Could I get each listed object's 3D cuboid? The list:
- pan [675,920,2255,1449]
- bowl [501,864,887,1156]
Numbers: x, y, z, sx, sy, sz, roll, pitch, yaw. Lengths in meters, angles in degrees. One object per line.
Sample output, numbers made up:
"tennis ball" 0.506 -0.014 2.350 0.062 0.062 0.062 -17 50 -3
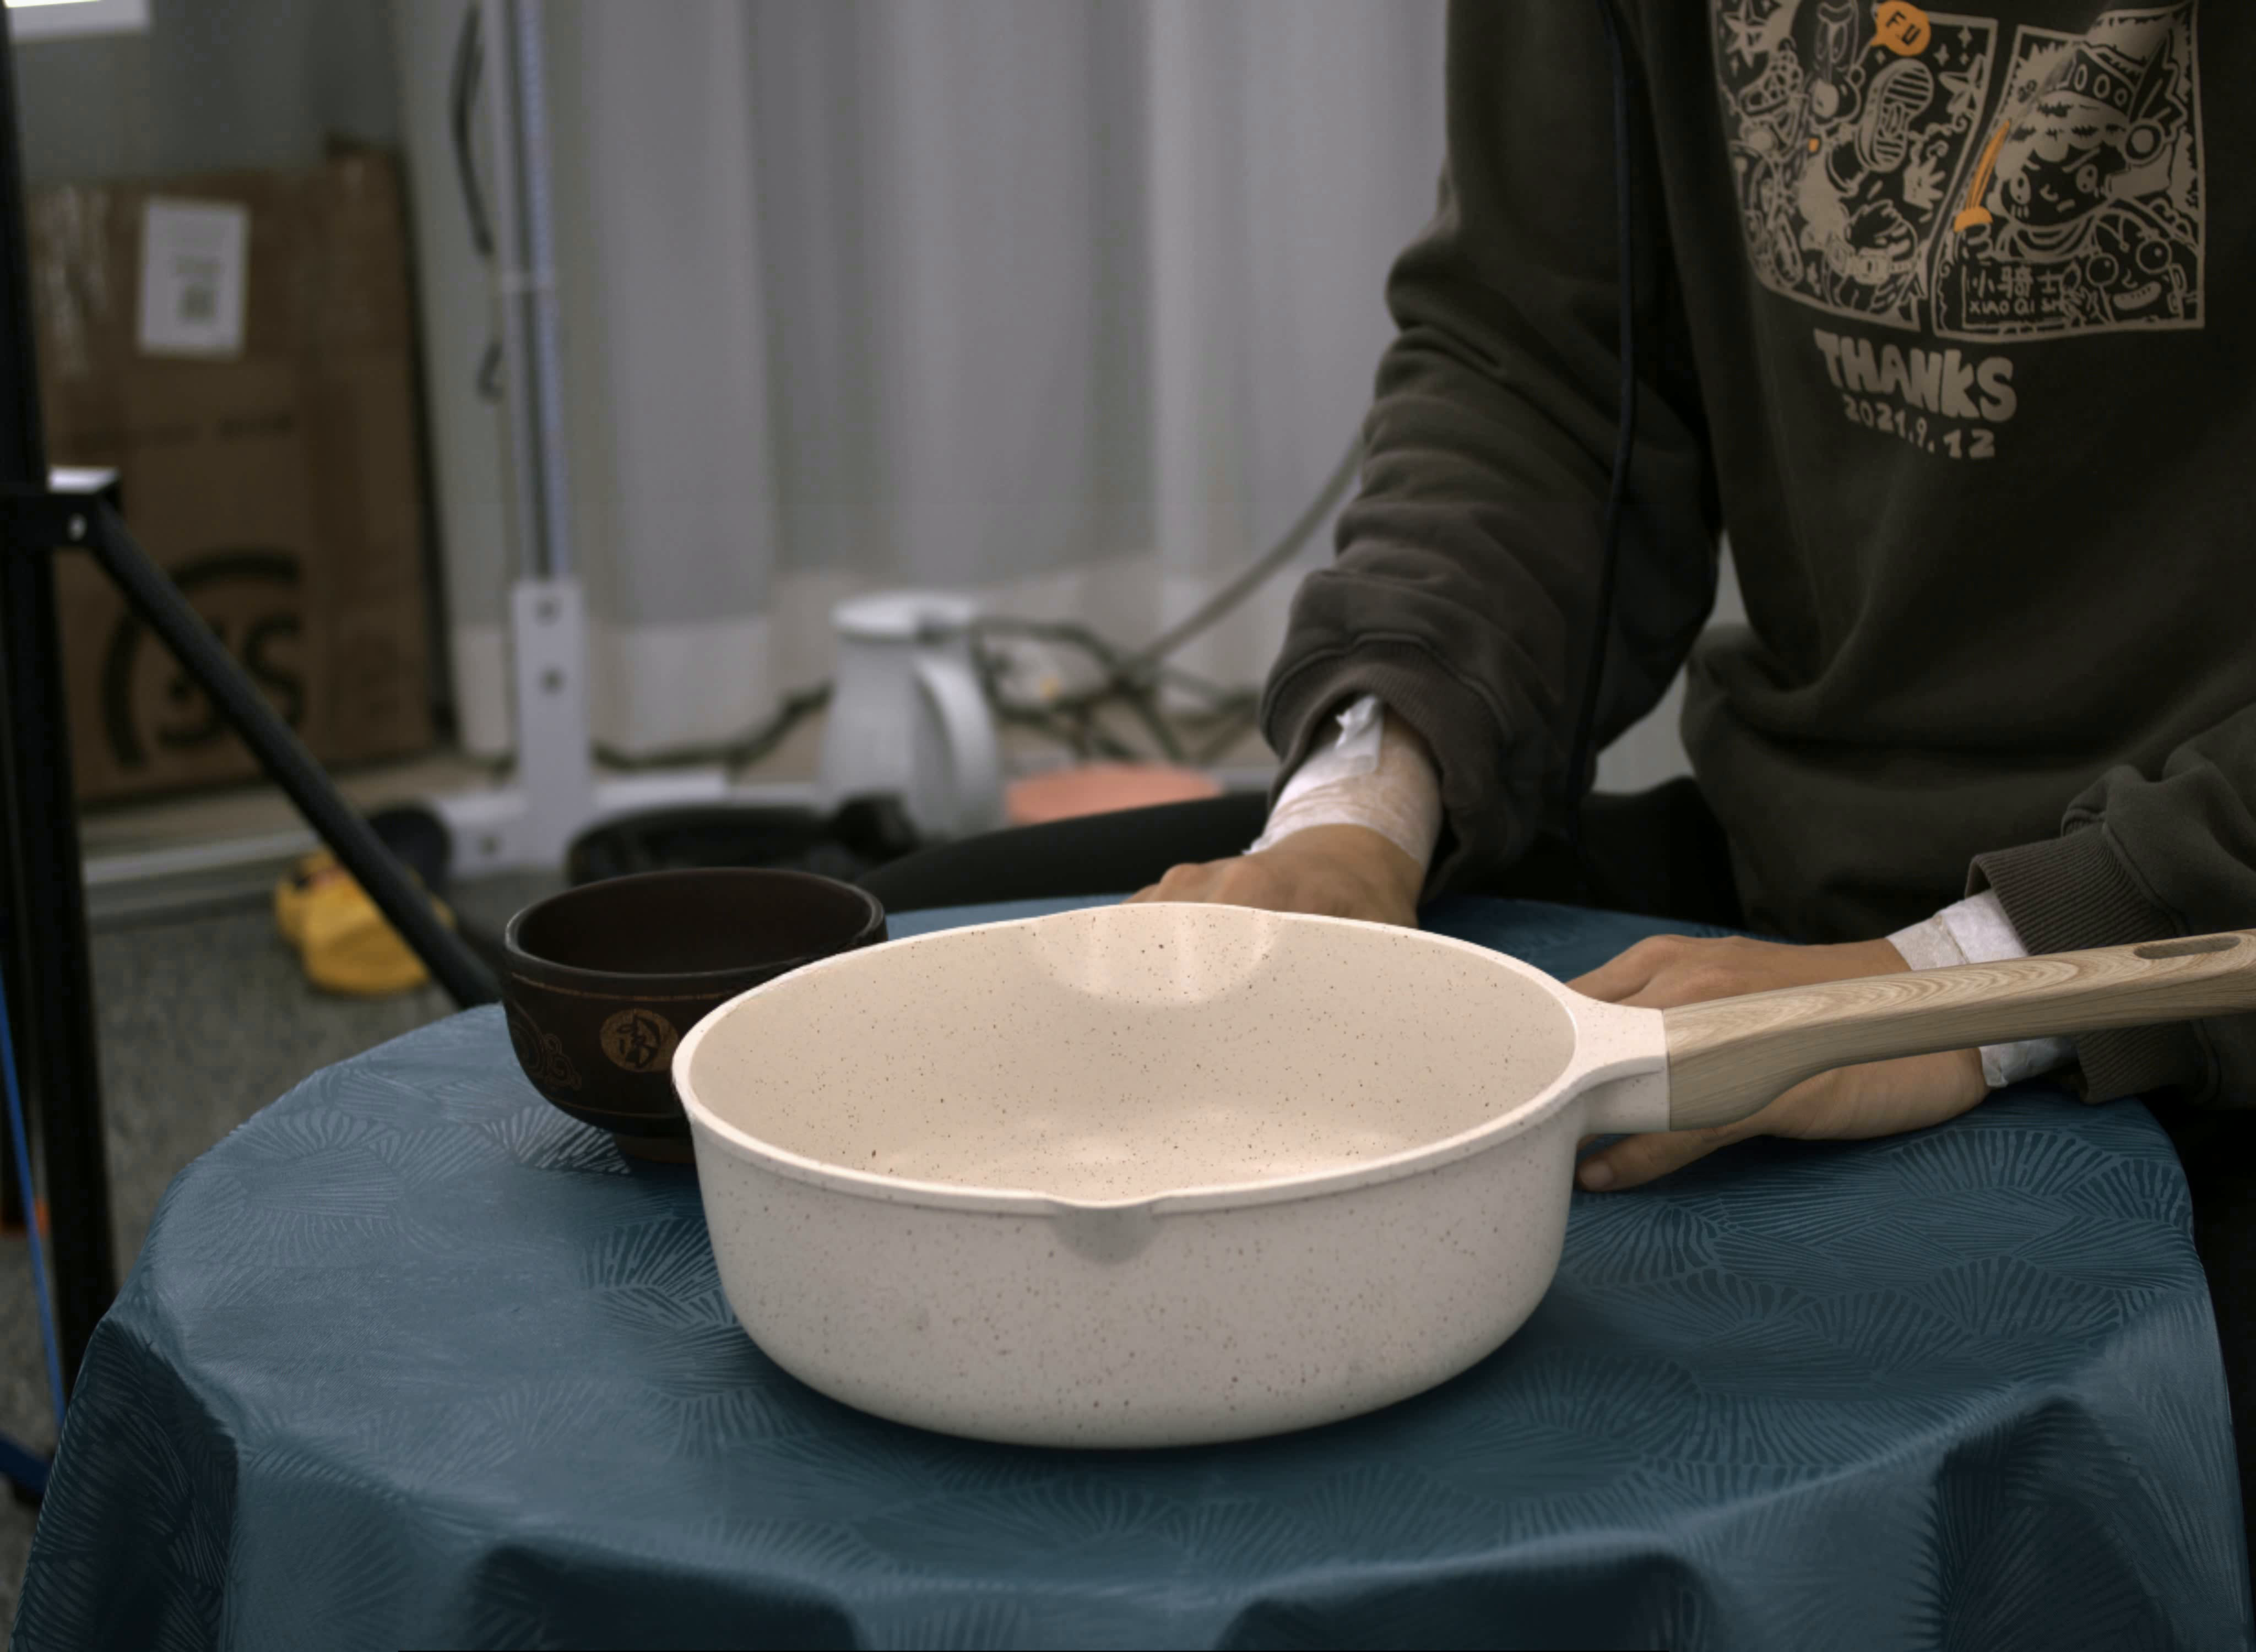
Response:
"pan" 0.095 0.089 1.433 0.434 0.102 0.263 -1 14 5
"bowl" -0.131 0.060 1.624 0.117 0.070 0.118 -3 14 -1
